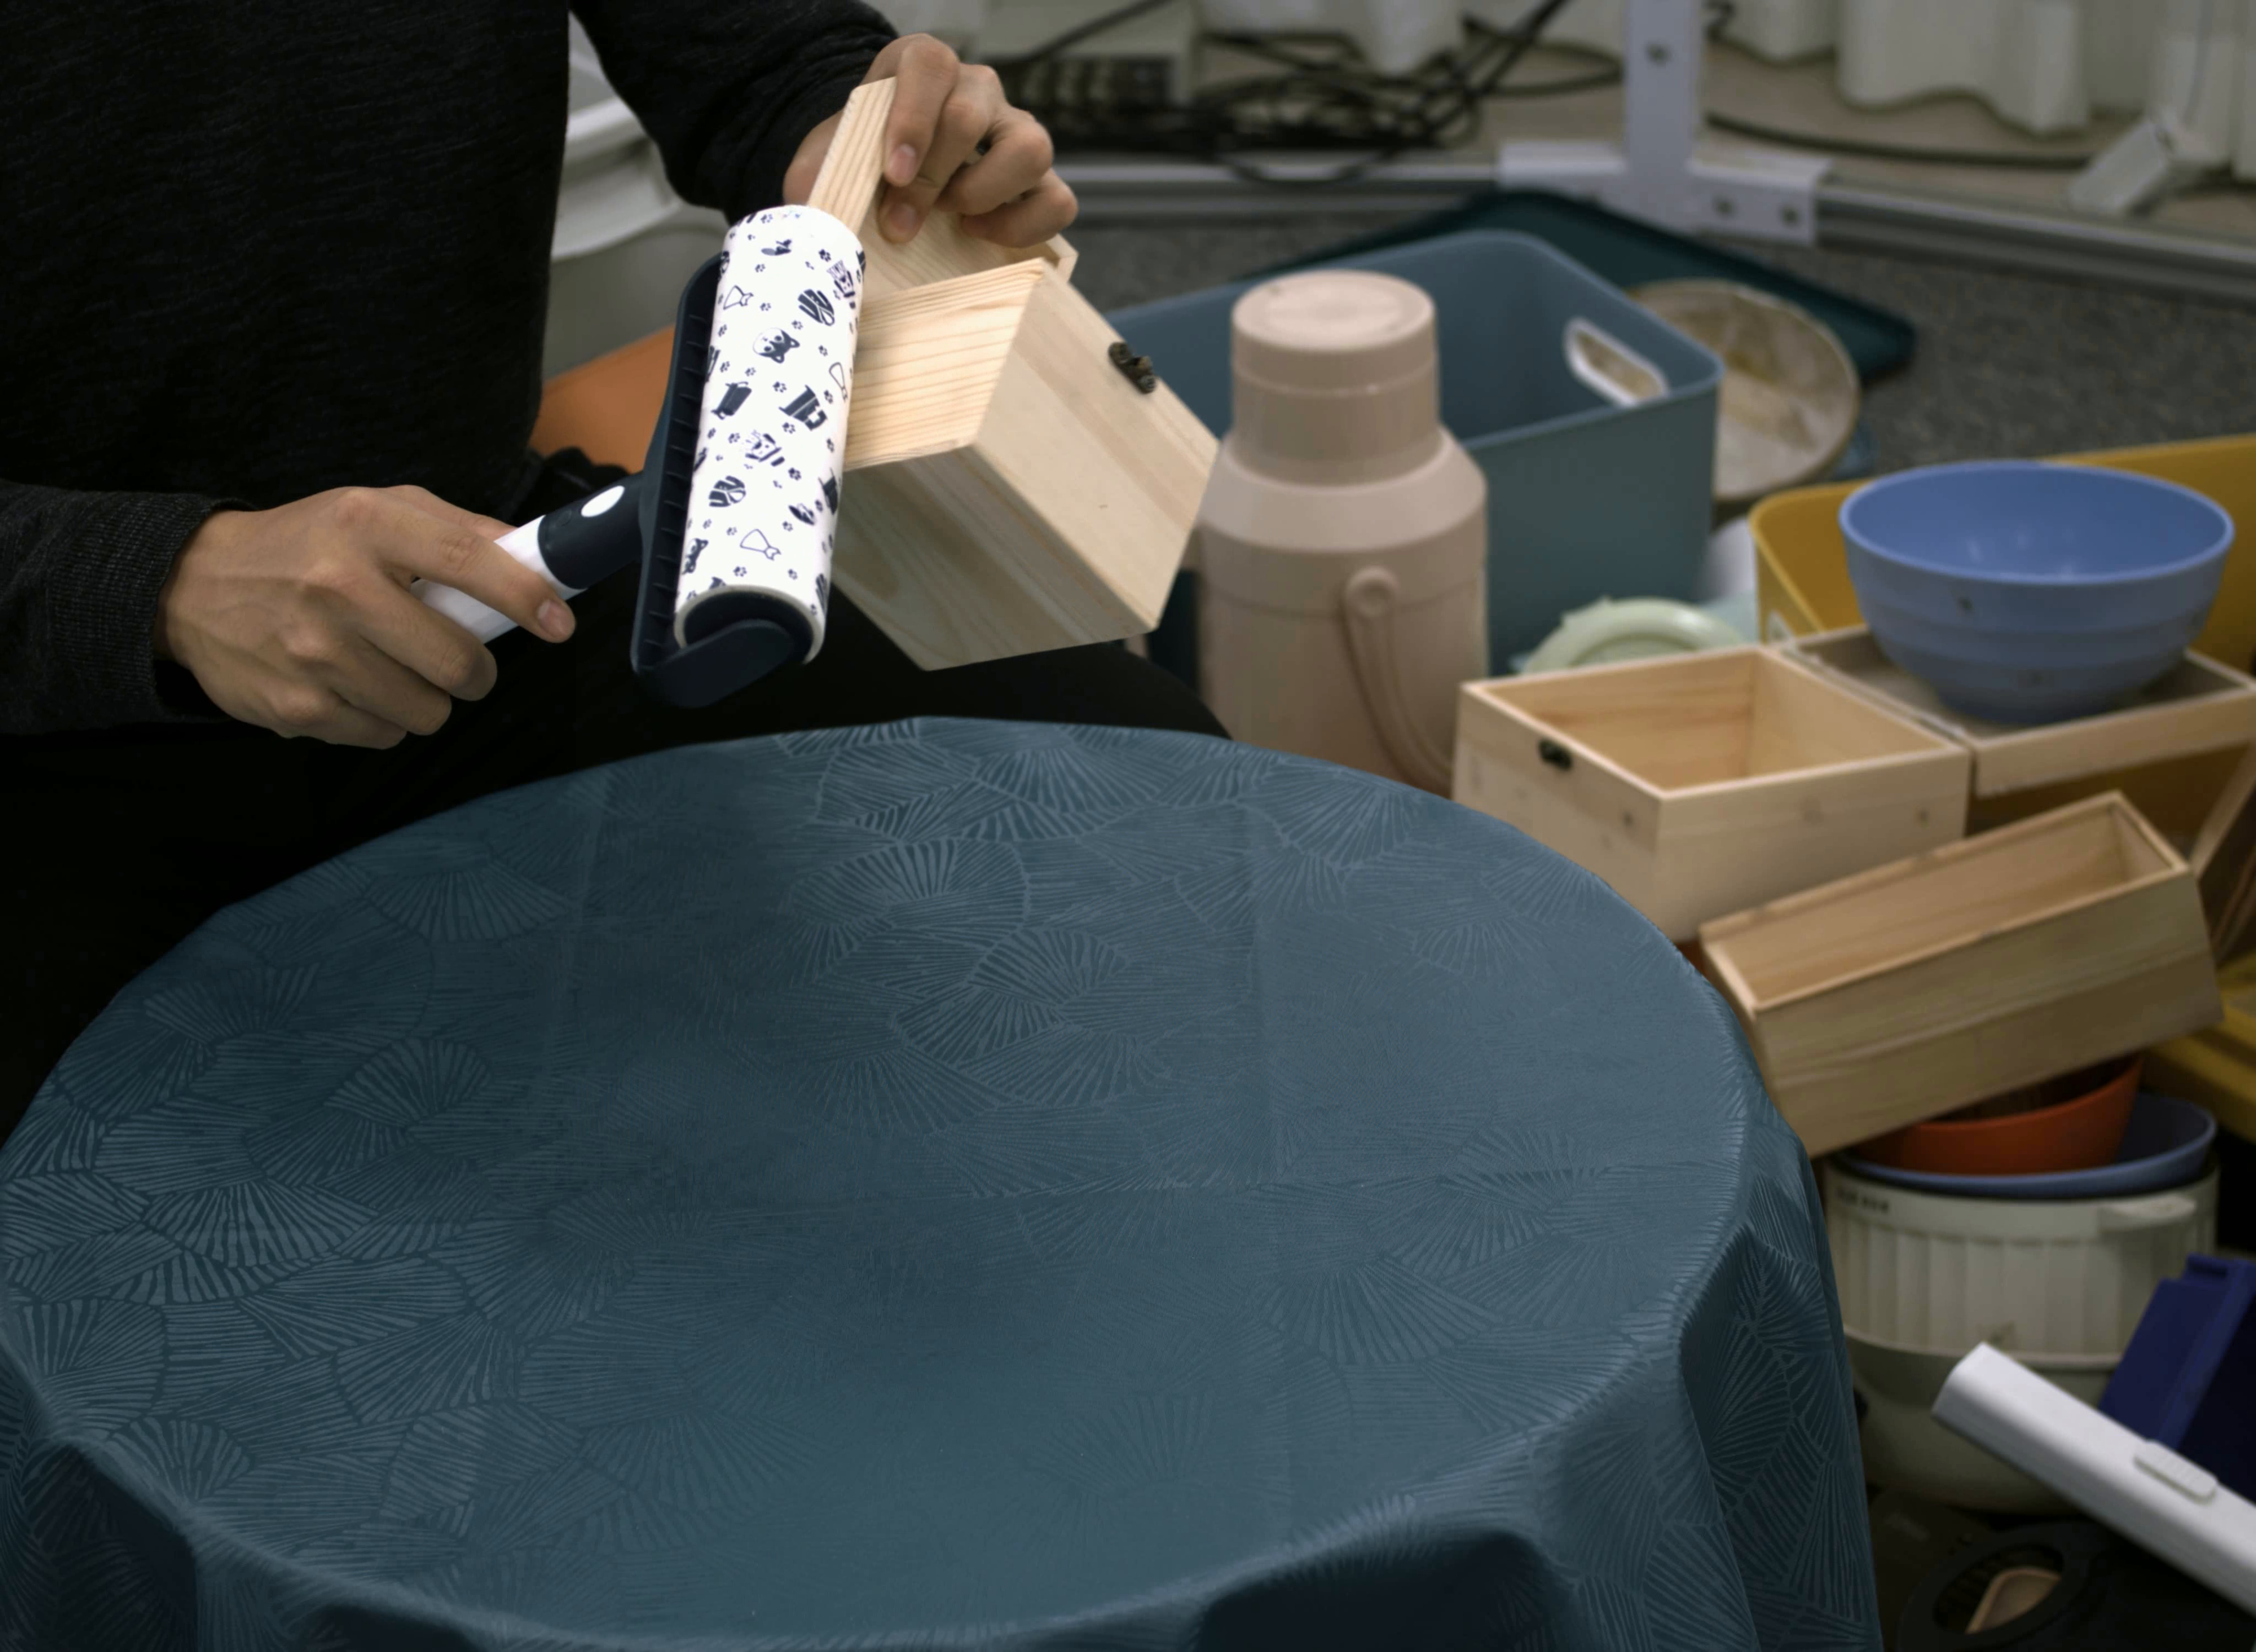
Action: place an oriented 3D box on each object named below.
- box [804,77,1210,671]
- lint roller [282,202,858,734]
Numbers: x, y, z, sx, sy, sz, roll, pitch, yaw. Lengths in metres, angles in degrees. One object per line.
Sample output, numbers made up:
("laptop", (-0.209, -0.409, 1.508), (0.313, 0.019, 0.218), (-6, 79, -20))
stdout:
("box", (-0.042, -0.159, 1.870), (0.132, 0.102, 0.188), (-9, 48, 38))
("lint roller", (-0.191, -0.087, 1.831), (0.243, 0.050, 0.180), (-25, 44, 30))
